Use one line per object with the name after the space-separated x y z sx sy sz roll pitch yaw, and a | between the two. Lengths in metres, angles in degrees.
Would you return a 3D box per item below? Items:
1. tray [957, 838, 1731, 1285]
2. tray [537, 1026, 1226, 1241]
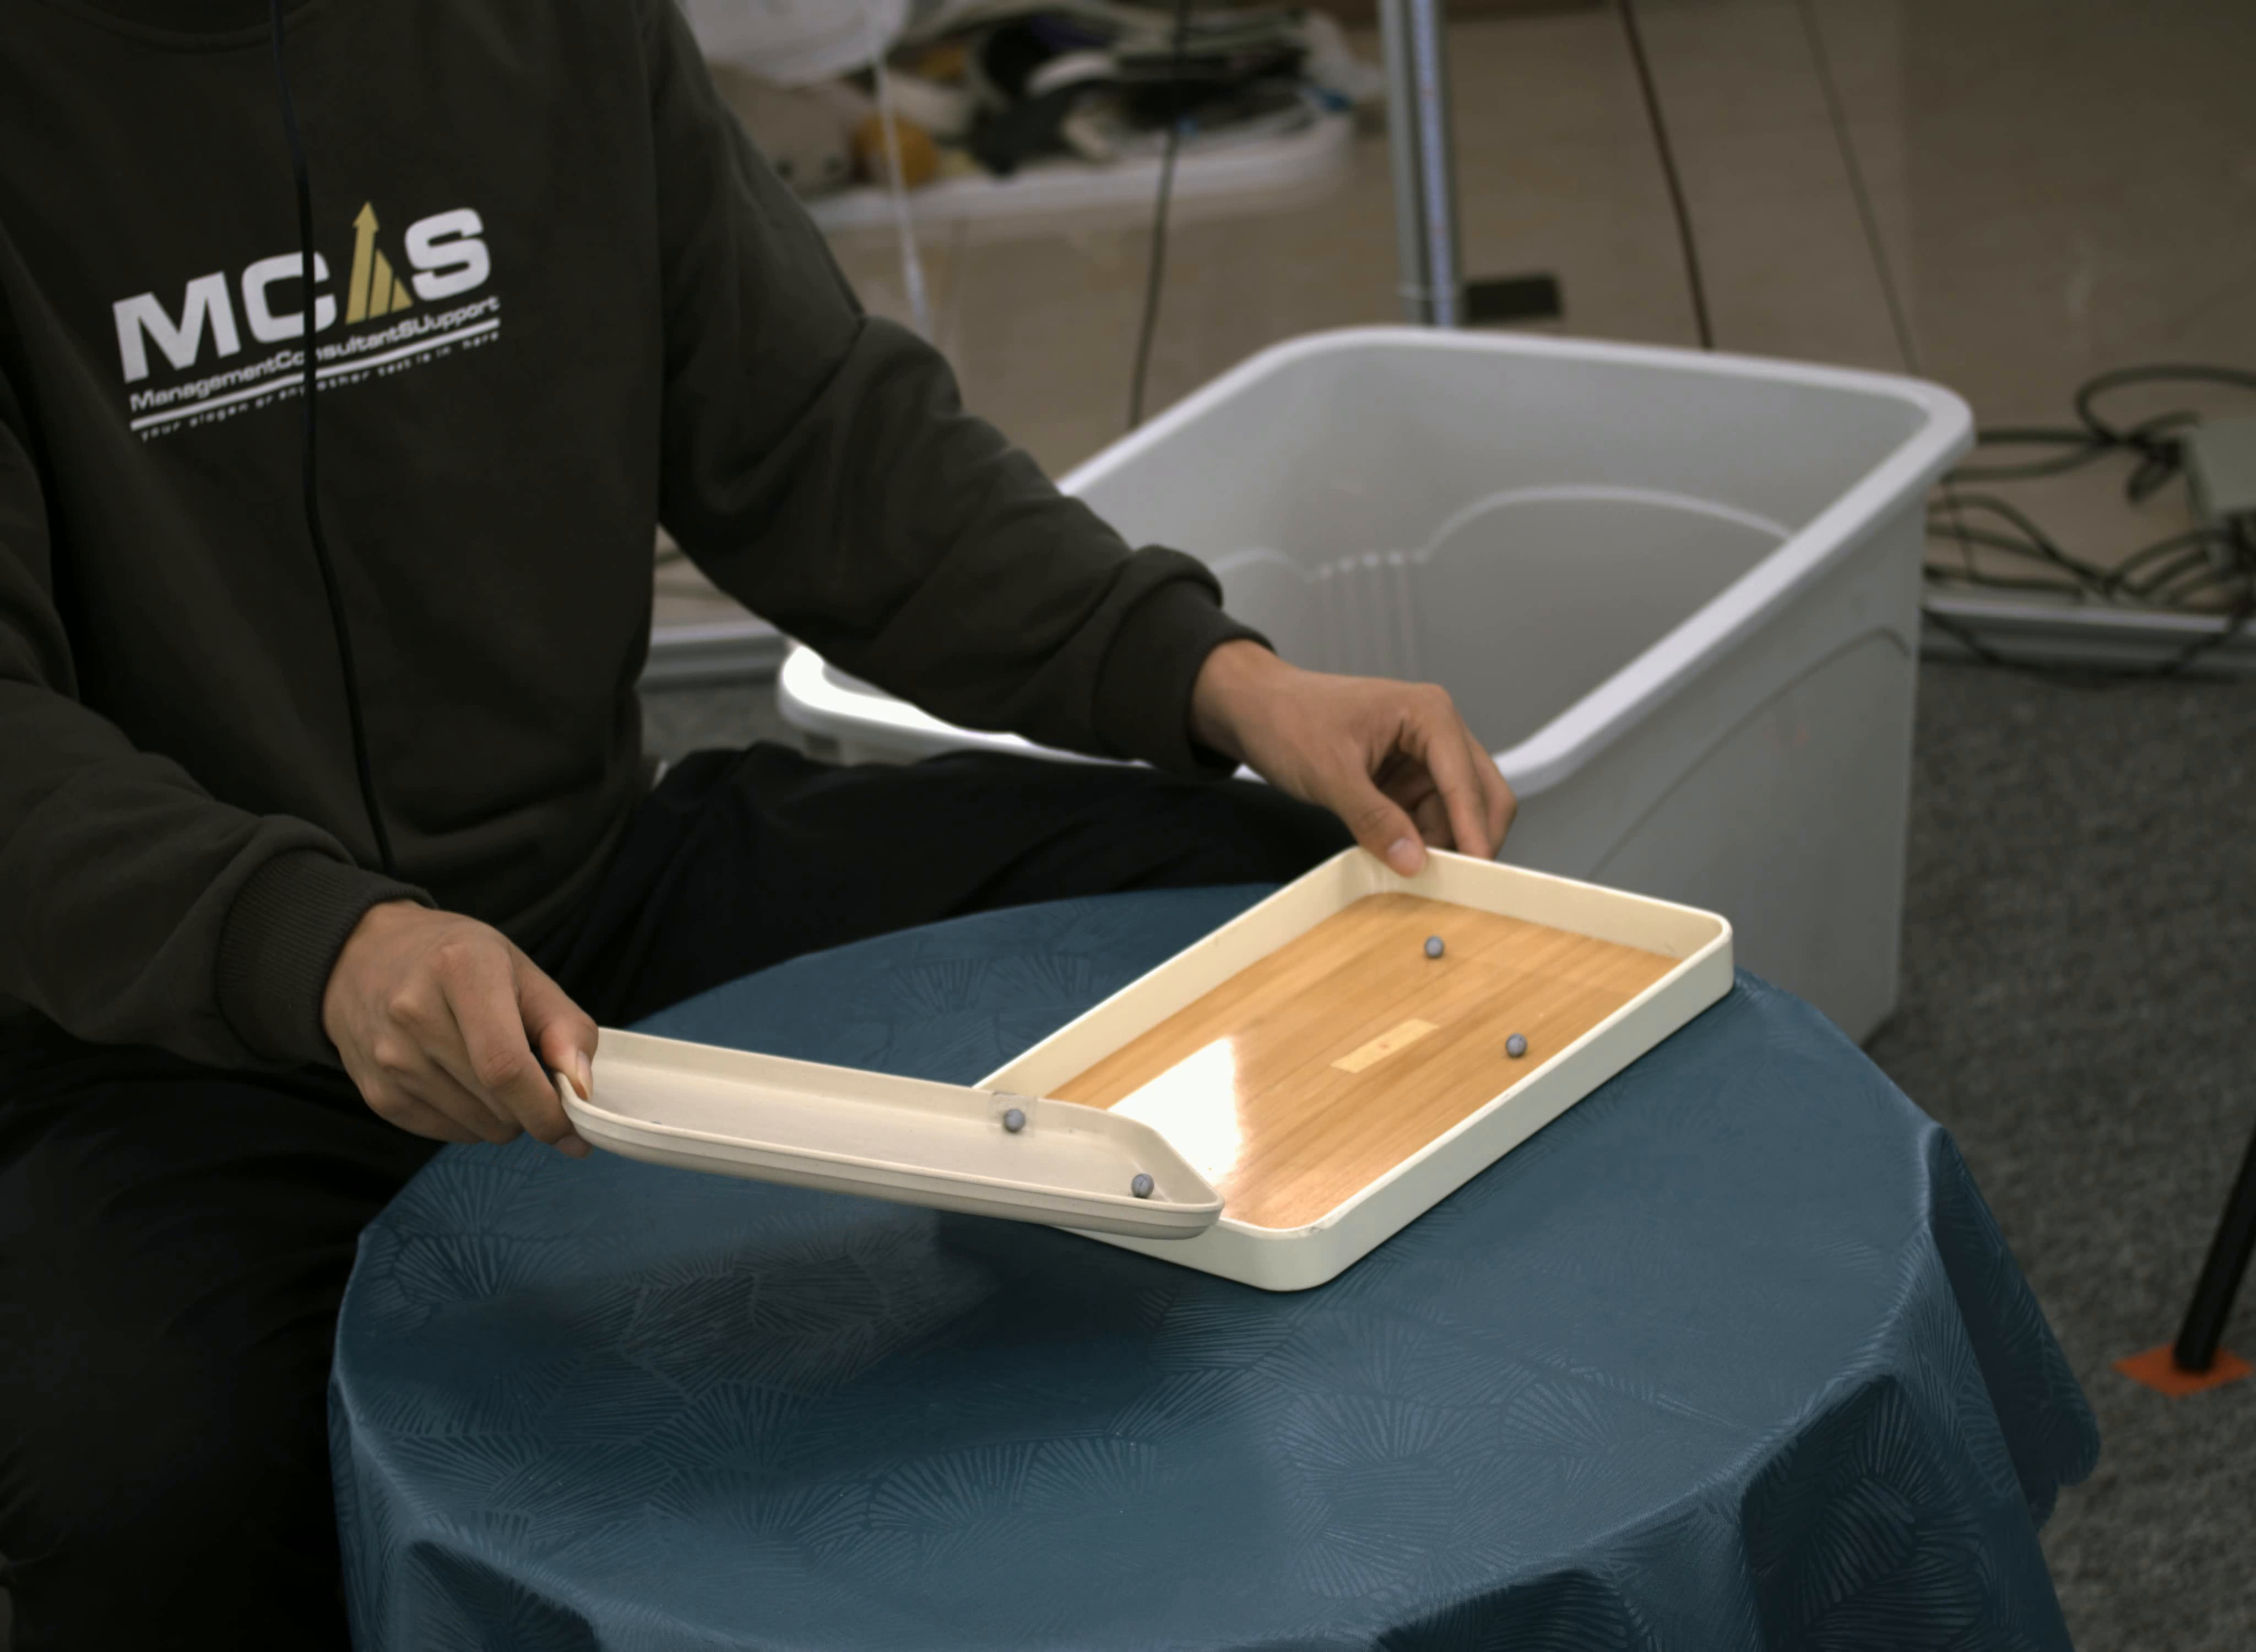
0.081 0.087 2.208 0.190 0.028 0.297 13 31 37 | tray
-0.092 0.112 2.053 0.240 0.017 0.170 10 8 -14 | tray
